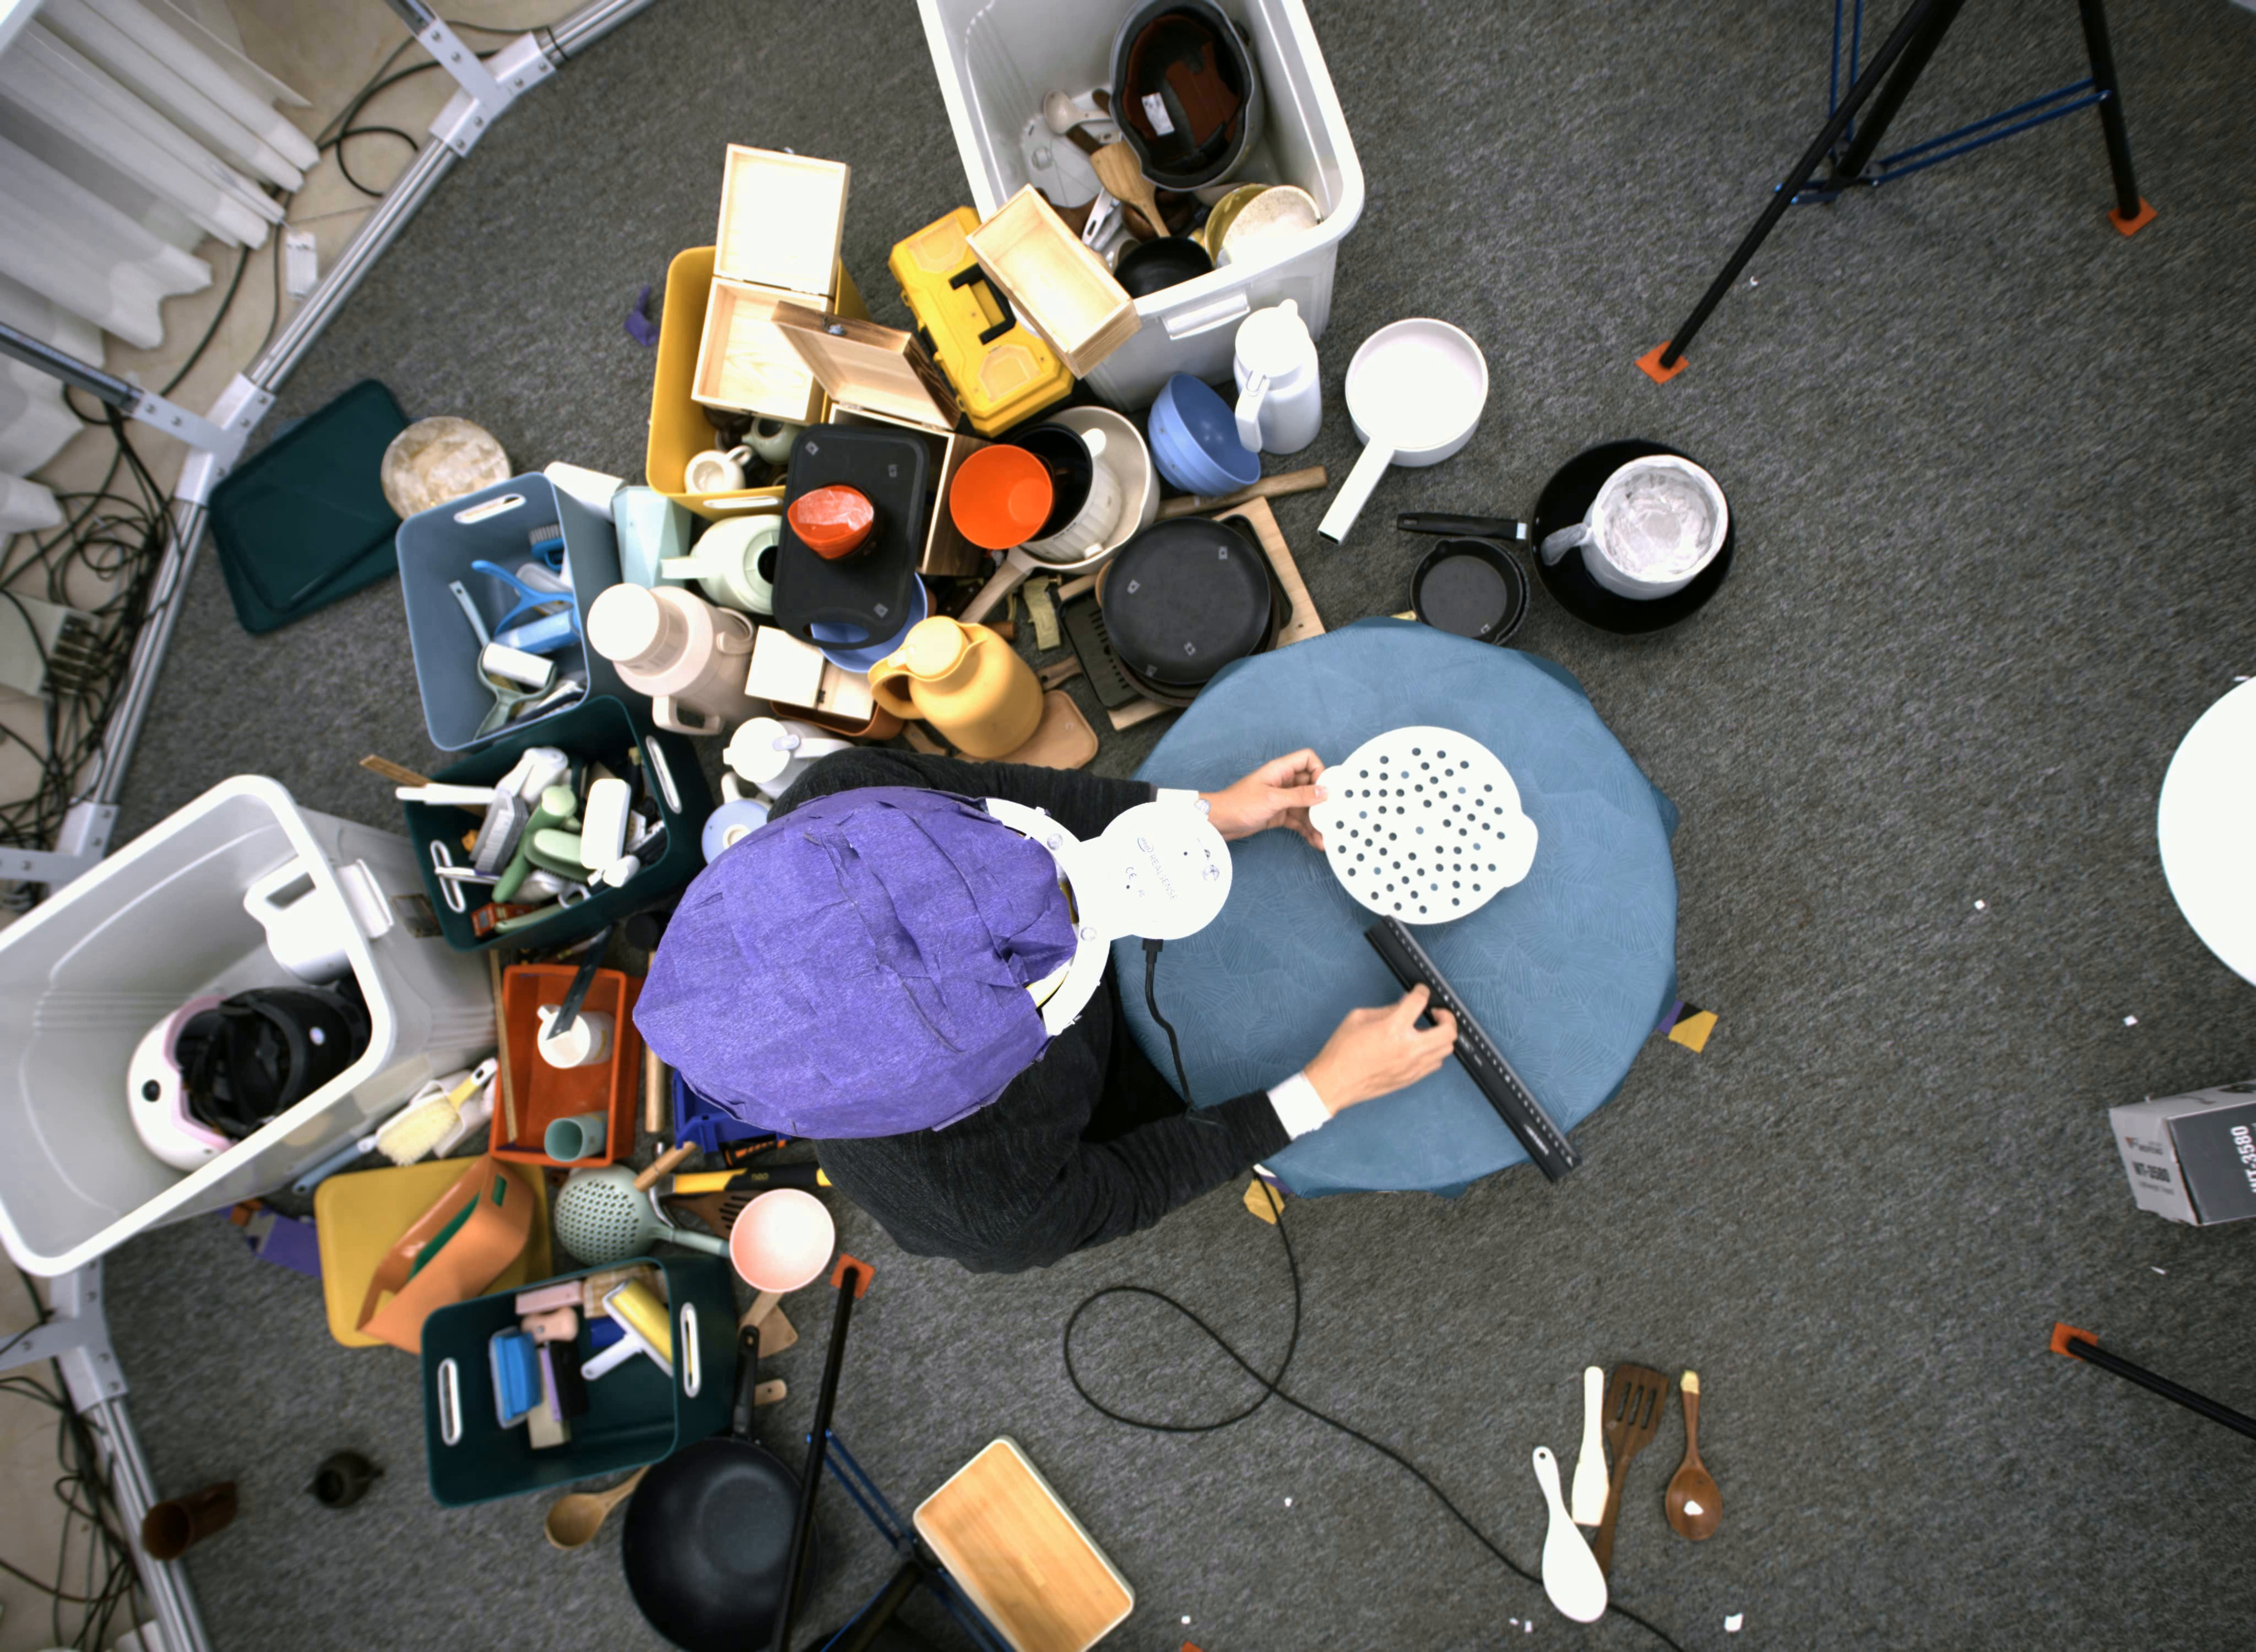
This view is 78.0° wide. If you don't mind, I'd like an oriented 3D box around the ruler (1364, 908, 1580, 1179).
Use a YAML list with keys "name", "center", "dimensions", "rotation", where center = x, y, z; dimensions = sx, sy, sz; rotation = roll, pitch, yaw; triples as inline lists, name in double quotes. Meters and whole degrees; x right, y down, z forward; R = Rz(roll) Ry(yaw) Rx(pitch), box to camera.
- name: "ruler"
  center: [0.343, 0.215, 1.373]
  dimensions: [0.039, 0.017, 0.312]
  rotation: [-38, 86, 11]

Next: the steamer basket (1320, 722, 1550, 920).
- name: "steamer basket"
  center: [0.314, -0.004, 1.421]
  dimensions: [0.231, 0.069, 0.201]
  rotation: [12, 89, 9]
